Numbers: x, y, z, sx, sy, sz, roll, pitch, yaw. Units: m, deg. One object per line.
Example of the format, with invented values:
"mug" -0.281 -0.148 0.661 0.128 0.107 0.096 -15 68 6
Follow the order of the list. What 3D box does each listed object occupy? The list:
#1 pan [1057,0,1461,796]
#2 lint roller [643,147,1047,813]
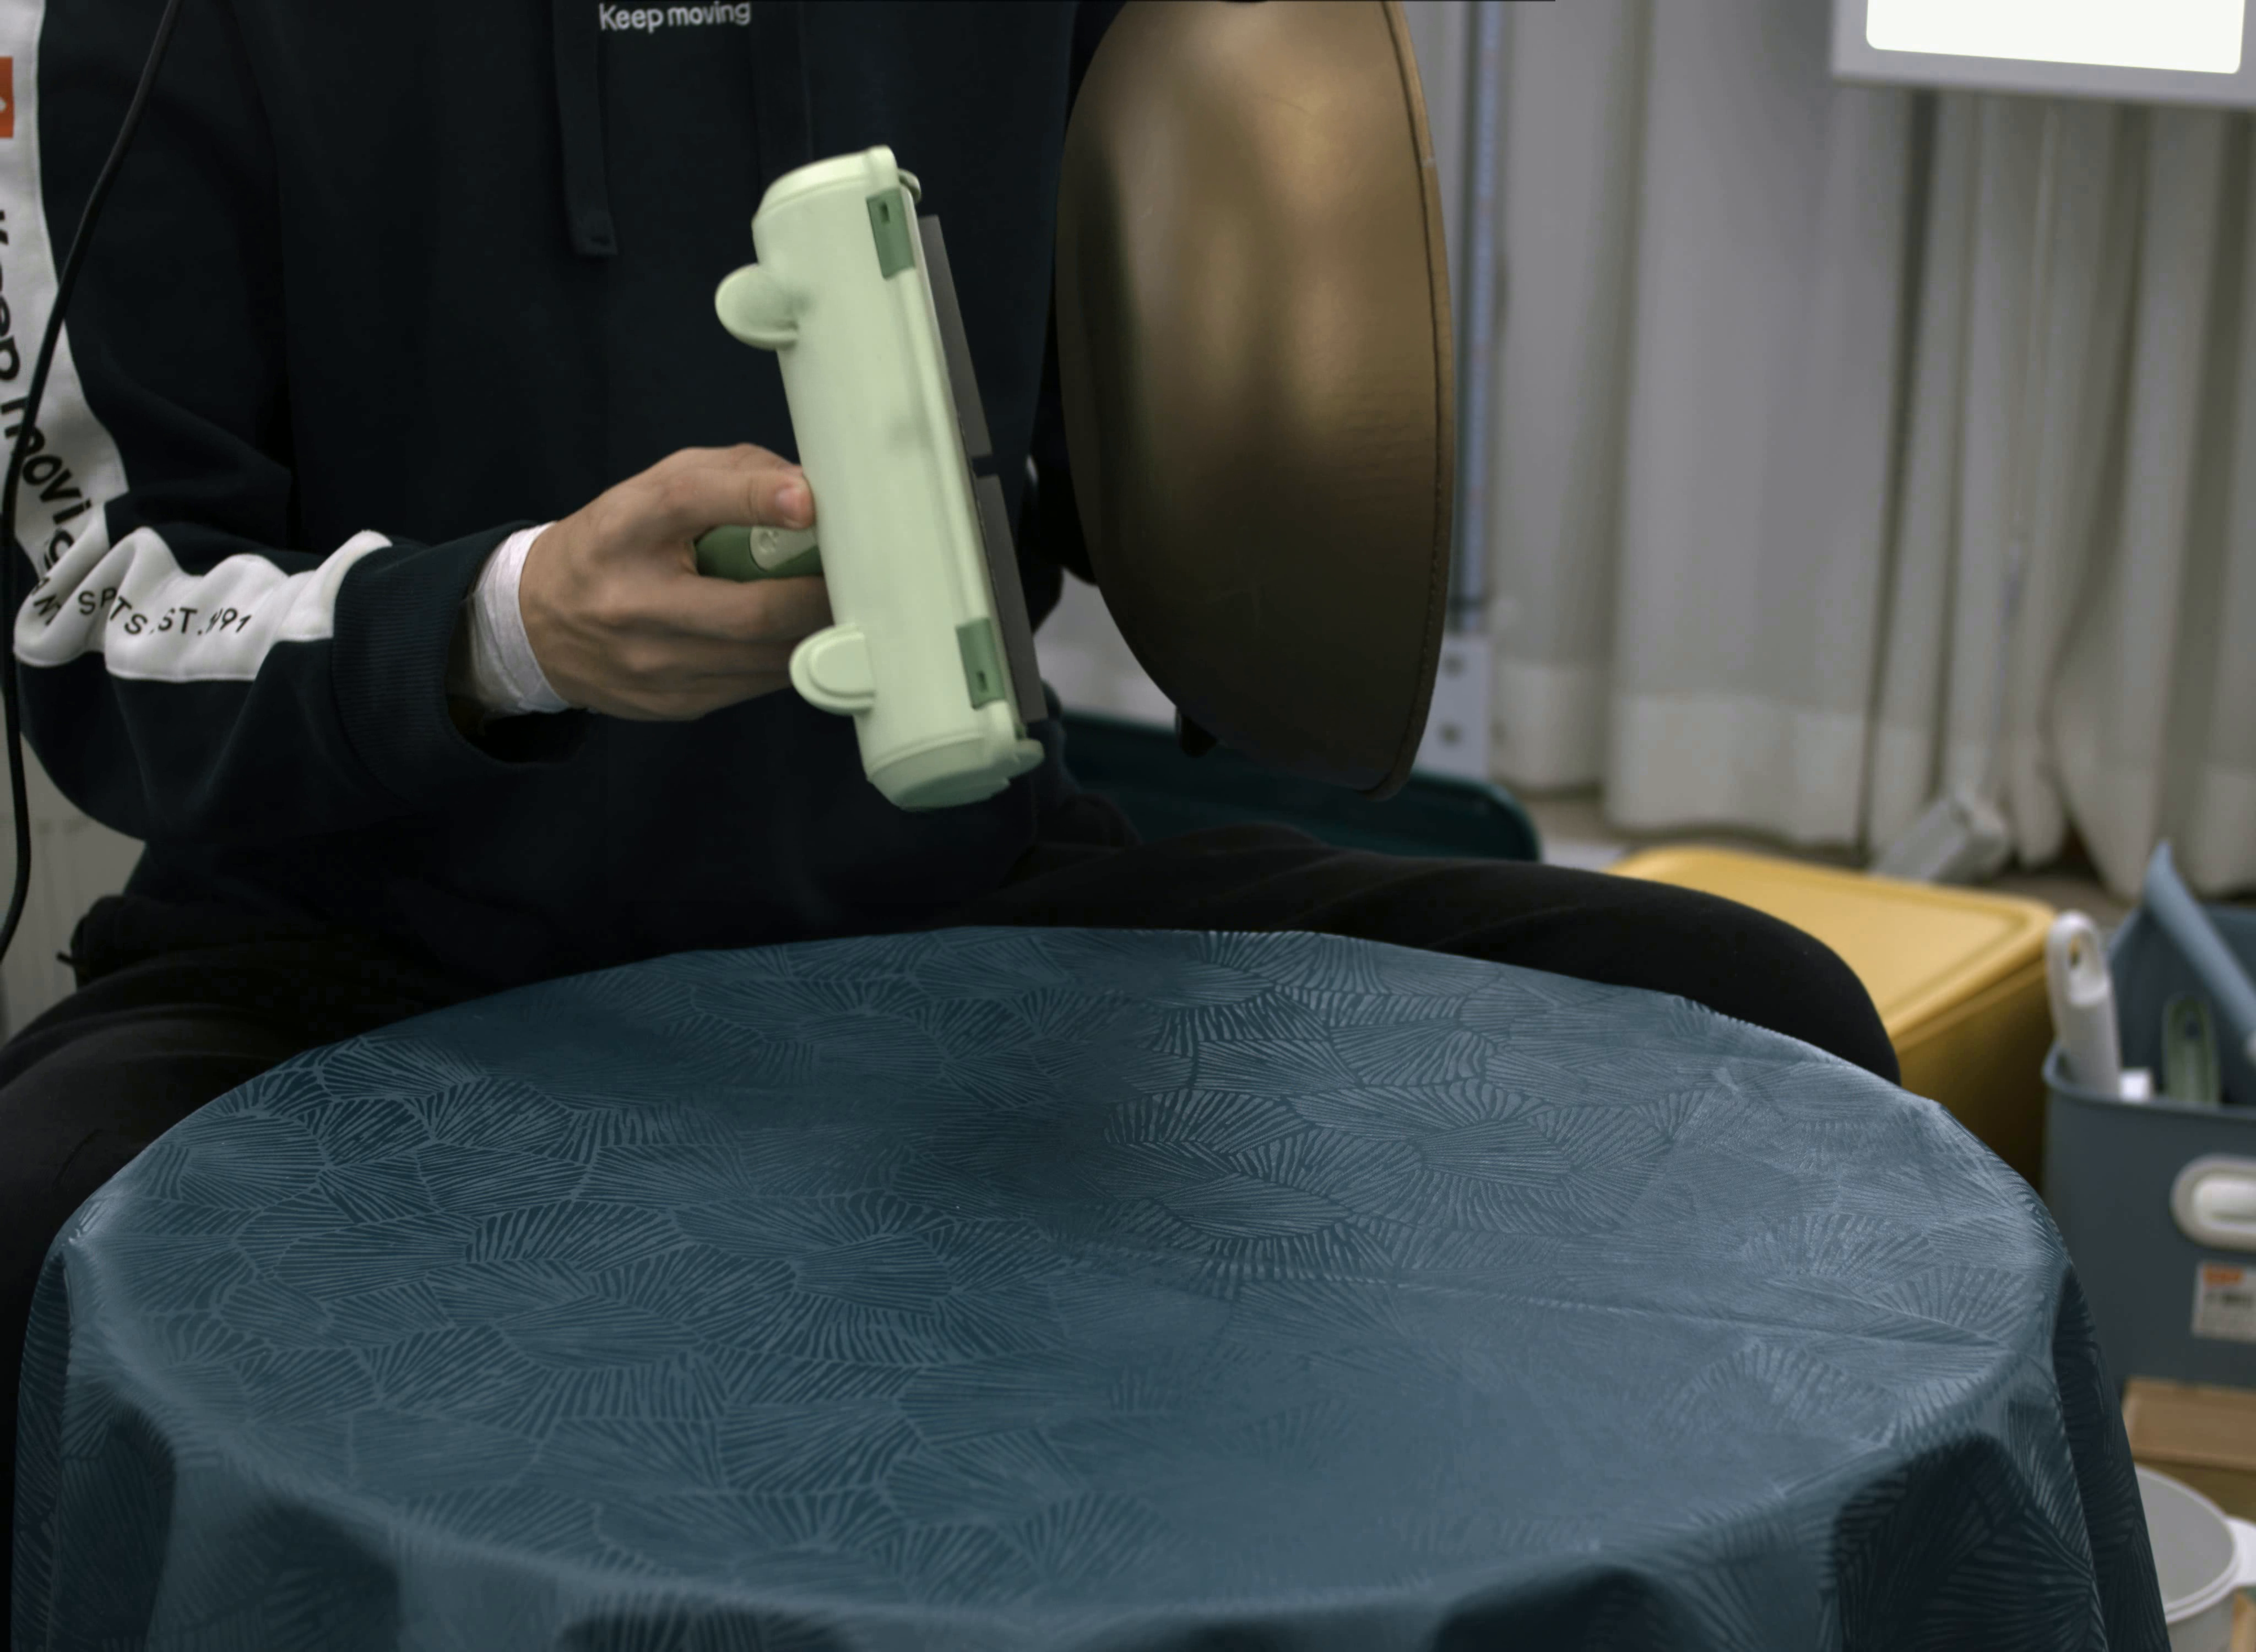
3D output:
"pan" 0.018 -0.116 1.684 0.087 0.287 0.465 -4 -20 -10
"lint roller" -0.112 -0.088 1.622 0.182 0.198 0.083 -21 -13 42
